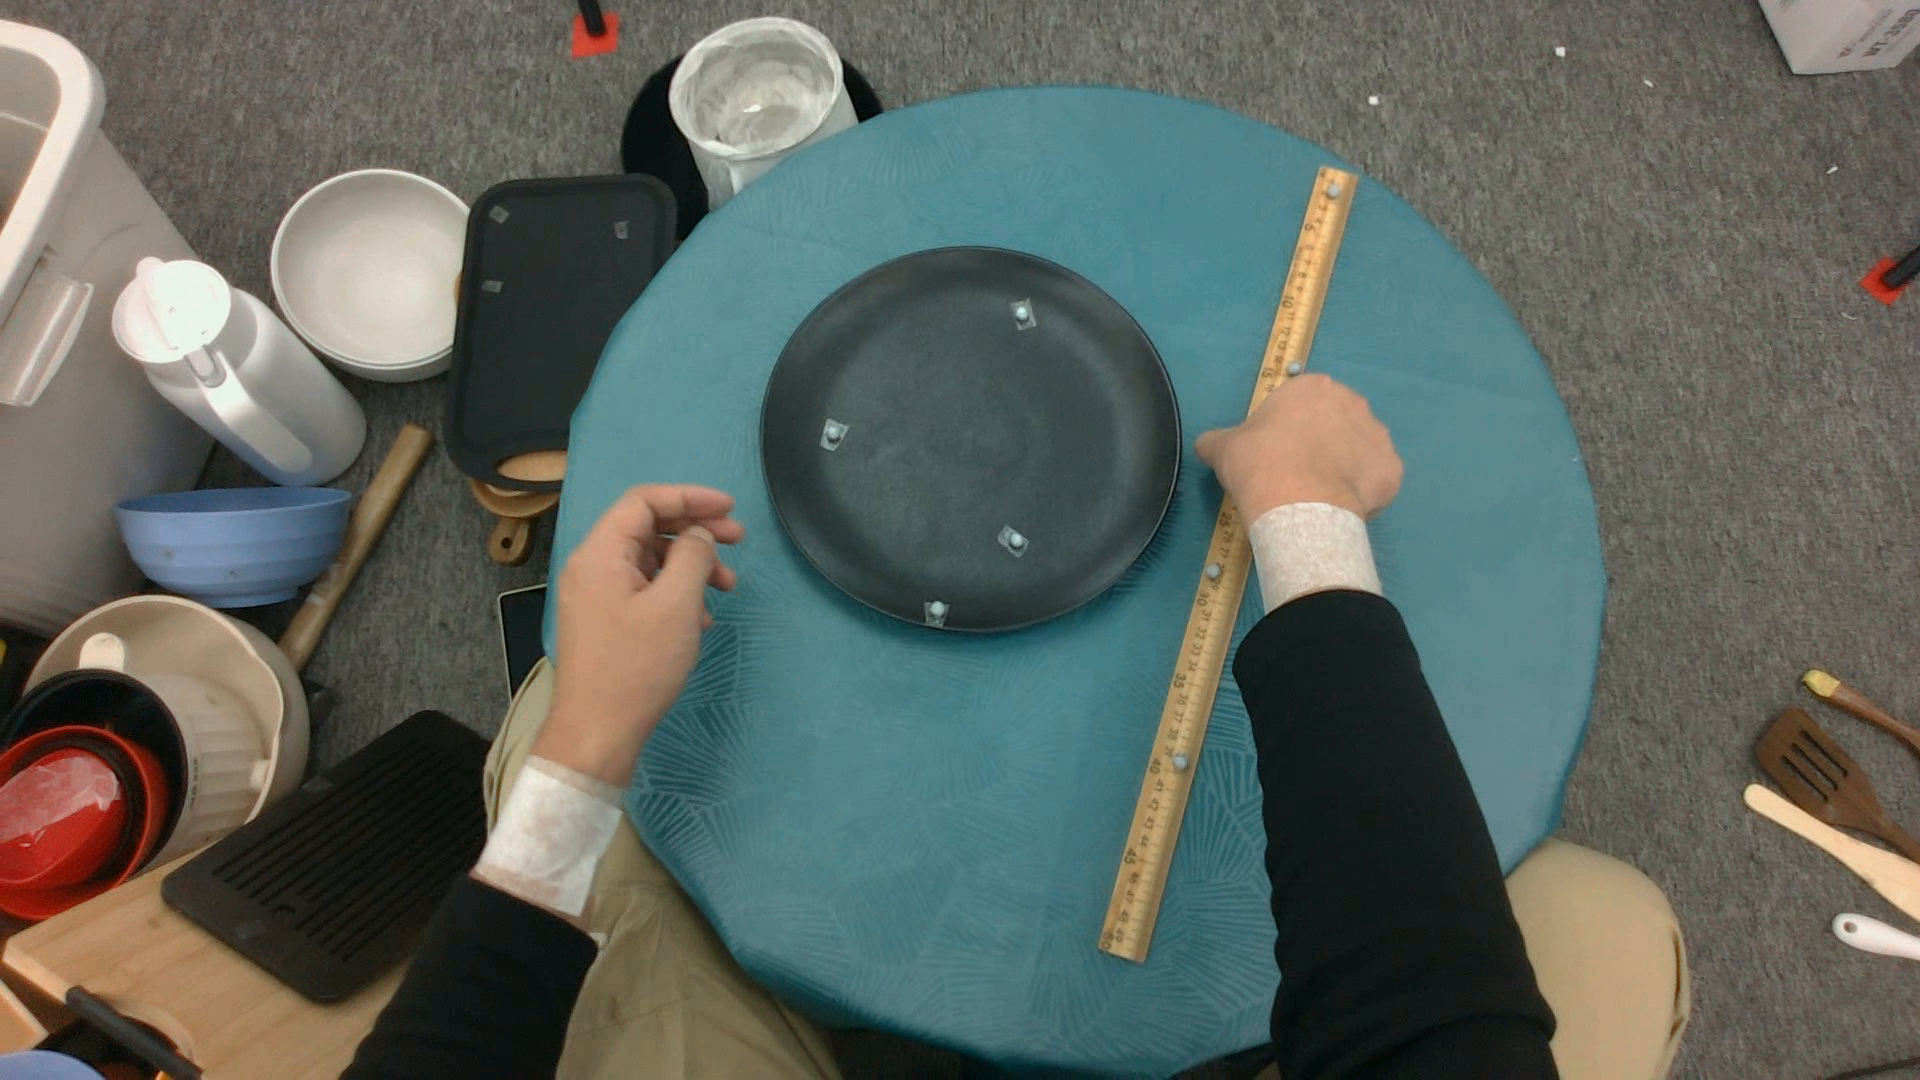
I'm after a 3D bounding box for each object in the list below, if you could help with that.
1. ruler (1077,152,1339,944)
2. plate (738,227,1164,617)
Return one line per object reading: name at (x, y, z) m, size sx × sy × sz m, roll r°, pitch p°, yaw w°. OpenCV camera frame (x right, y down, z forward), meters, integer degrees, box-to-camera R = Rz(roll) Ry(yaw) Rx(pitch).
ruler at (0.149, -0.019, 0.791) m, size 0.027 × 0.006 × 0.502 m, roll 18°, pitch 71°, yaw 5°
plate at (-0.005, -0.070, 0.795) m, size 0.244 × 0.023 × 0.245 m, roll 1°, pitch 71°, yaw -2°
